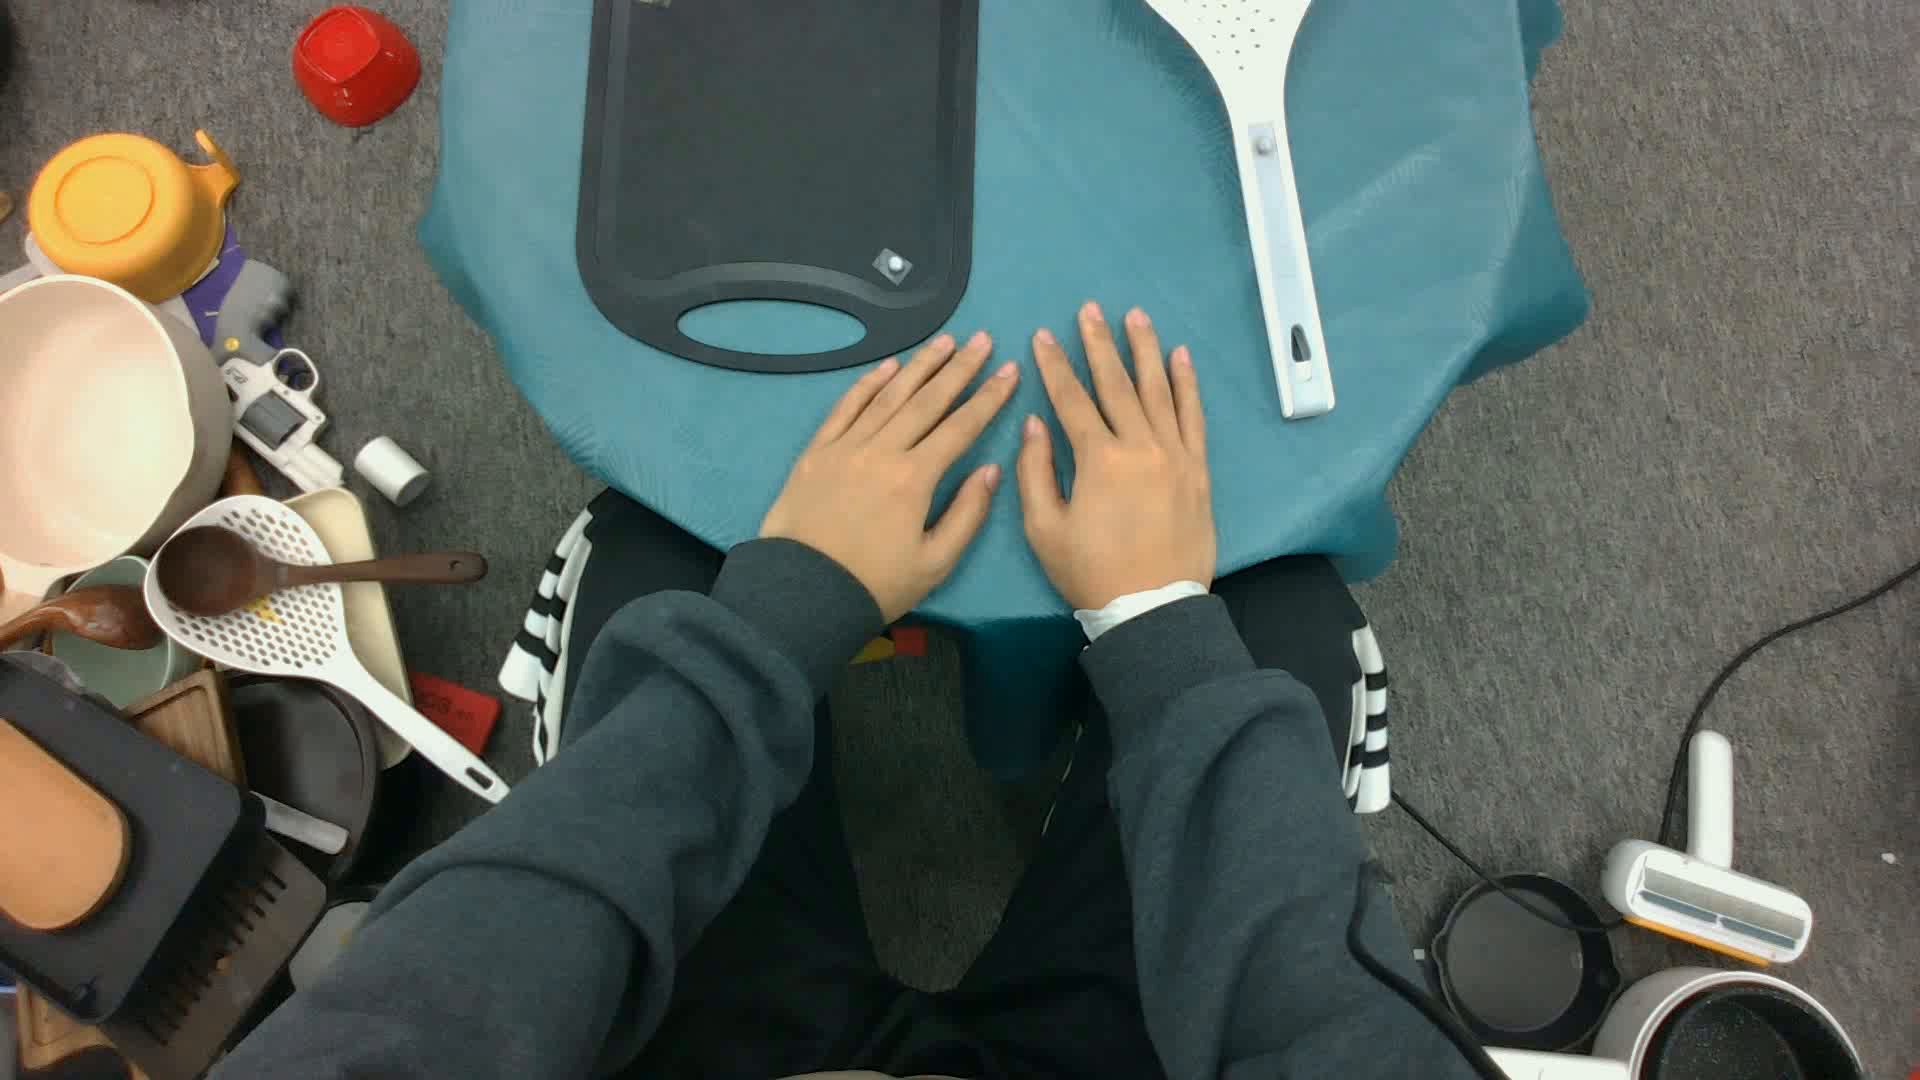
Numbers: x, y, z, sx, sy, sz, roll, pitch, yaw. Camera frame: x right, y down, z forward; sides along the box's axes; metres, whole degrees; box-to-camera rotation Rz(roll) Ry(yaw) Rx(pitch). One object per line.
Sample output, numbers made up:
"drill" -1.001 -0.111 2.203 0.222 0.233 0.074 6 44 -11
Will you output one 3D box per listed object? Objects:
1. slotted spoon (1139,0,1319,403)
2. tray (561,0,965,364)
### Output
"slotted spoon" 0.148 -0.245 0.743 0.136 0.045 0.350 -10 82 -3
"tray" -0.103 -0.253 0.749 0.211 0.010 0.326 2 80 -3
